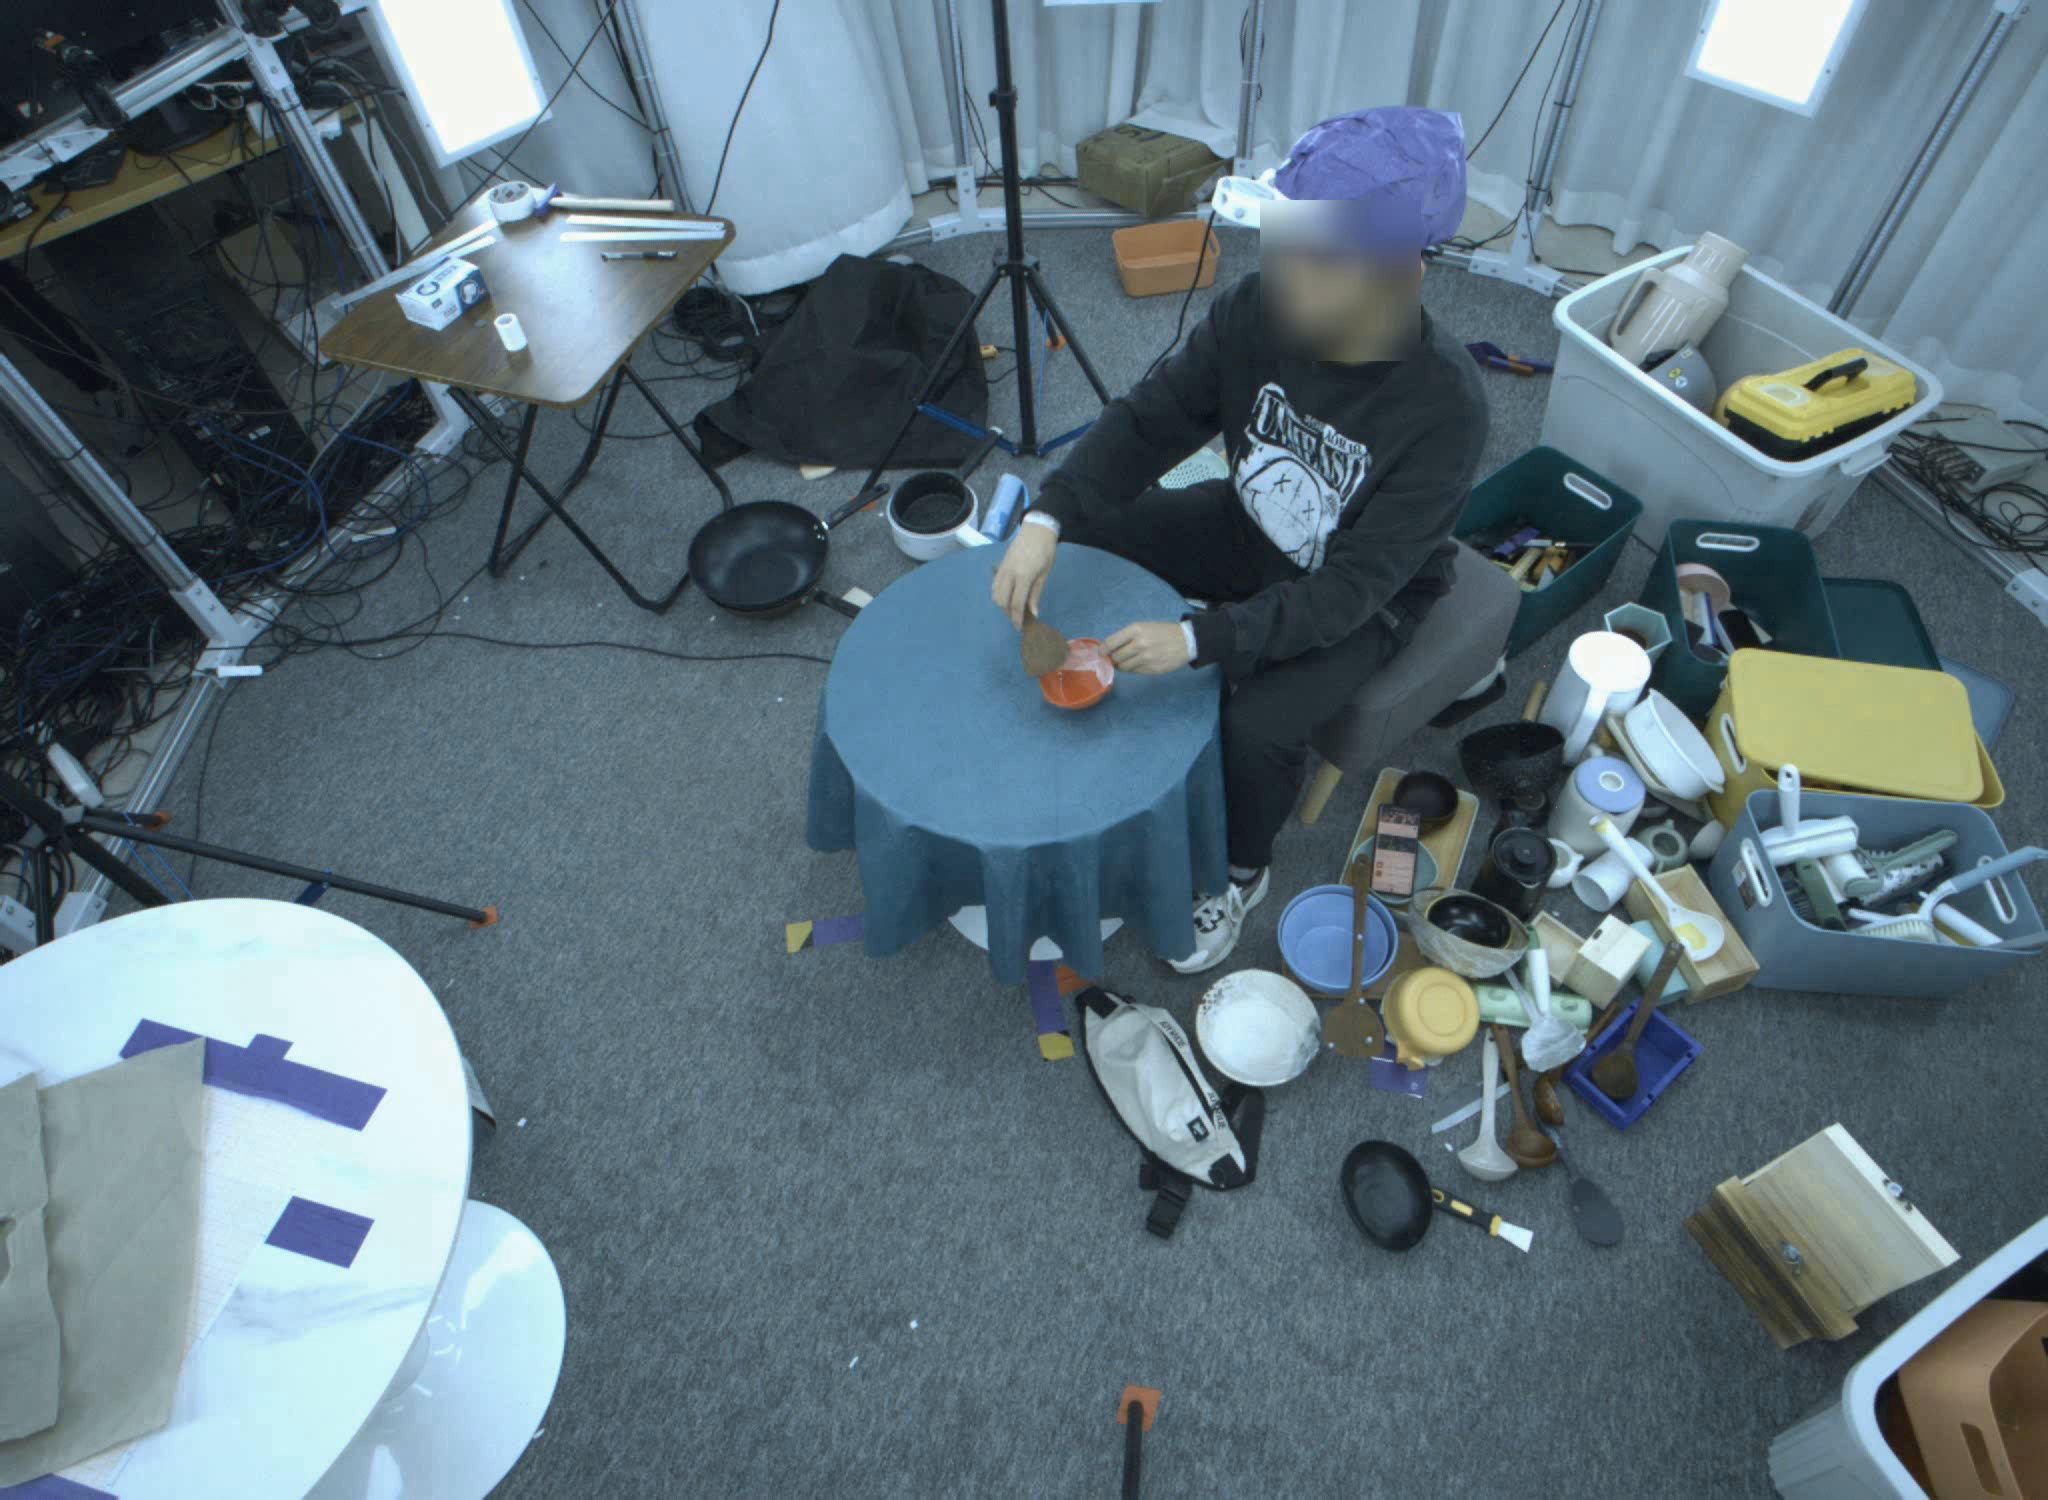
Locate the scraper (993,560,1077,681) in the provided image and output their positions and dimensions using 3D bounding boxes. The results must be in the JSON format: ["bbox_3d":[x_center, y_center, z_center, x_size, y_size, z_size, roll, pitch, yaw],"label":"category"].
[{"bbox_3d":[0.005,-0.195,1.812,0.076,0.011,0.208,-26,69,0],"label":"scraper"}]

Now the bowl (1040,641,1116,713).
[{"bbox_3d":[0.085,-0.099,1.817,0.118,0.052,0.118,-8,61,15],"label":"bowl"}]
